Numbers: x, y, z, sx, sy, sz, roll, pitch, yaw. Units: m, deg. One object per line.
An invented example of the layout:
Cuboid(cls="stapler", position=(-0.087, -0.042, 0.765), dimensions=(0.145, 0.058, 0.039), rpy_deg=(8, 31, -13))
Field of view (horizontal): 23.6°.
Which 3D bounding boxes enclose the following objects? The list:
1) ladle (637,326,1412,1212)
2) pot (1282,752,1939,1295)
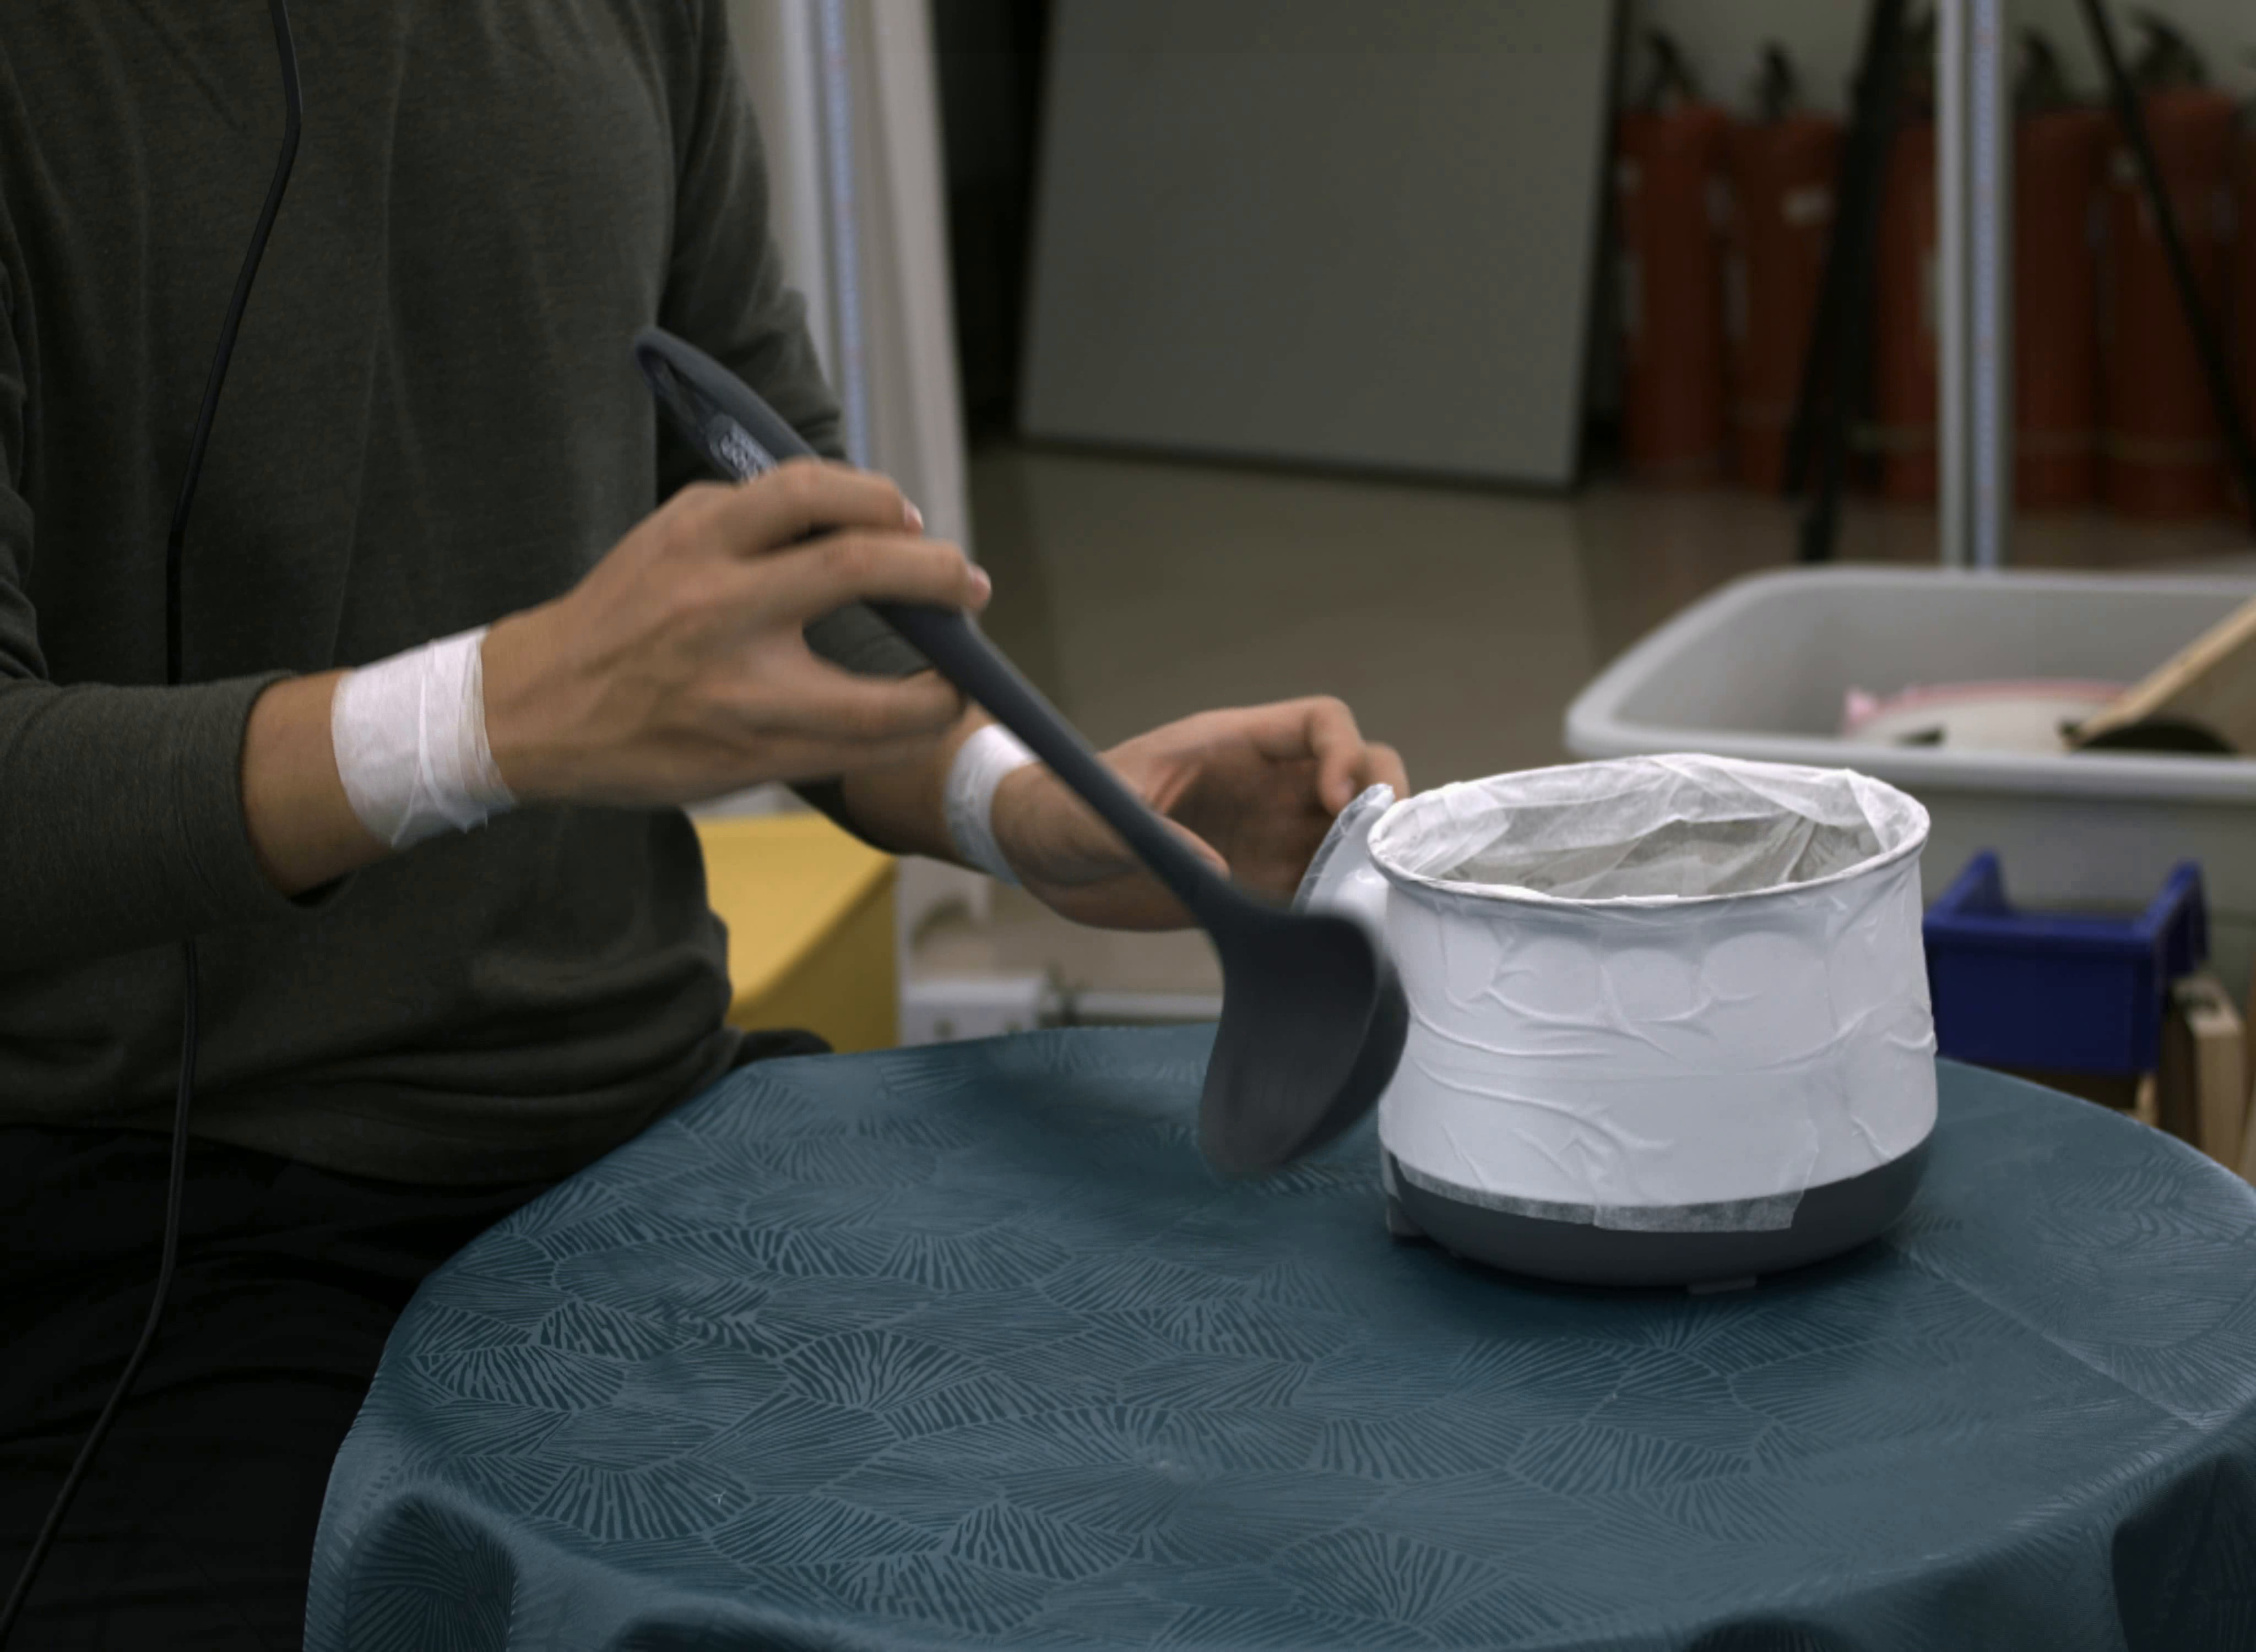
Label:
Cuboid(cls="ladle", position=(-0.040, -0.025, 1.503), dimensions=(0.315, 0.087, 0.063), rpy_deg=(46, 27, 11))
Cuboid(cls="pot", position=(0.142, 0.058, 1.702), dimensions=(0.235, 0.138, 0.176), rpy_deg=(5, 15, 34))
